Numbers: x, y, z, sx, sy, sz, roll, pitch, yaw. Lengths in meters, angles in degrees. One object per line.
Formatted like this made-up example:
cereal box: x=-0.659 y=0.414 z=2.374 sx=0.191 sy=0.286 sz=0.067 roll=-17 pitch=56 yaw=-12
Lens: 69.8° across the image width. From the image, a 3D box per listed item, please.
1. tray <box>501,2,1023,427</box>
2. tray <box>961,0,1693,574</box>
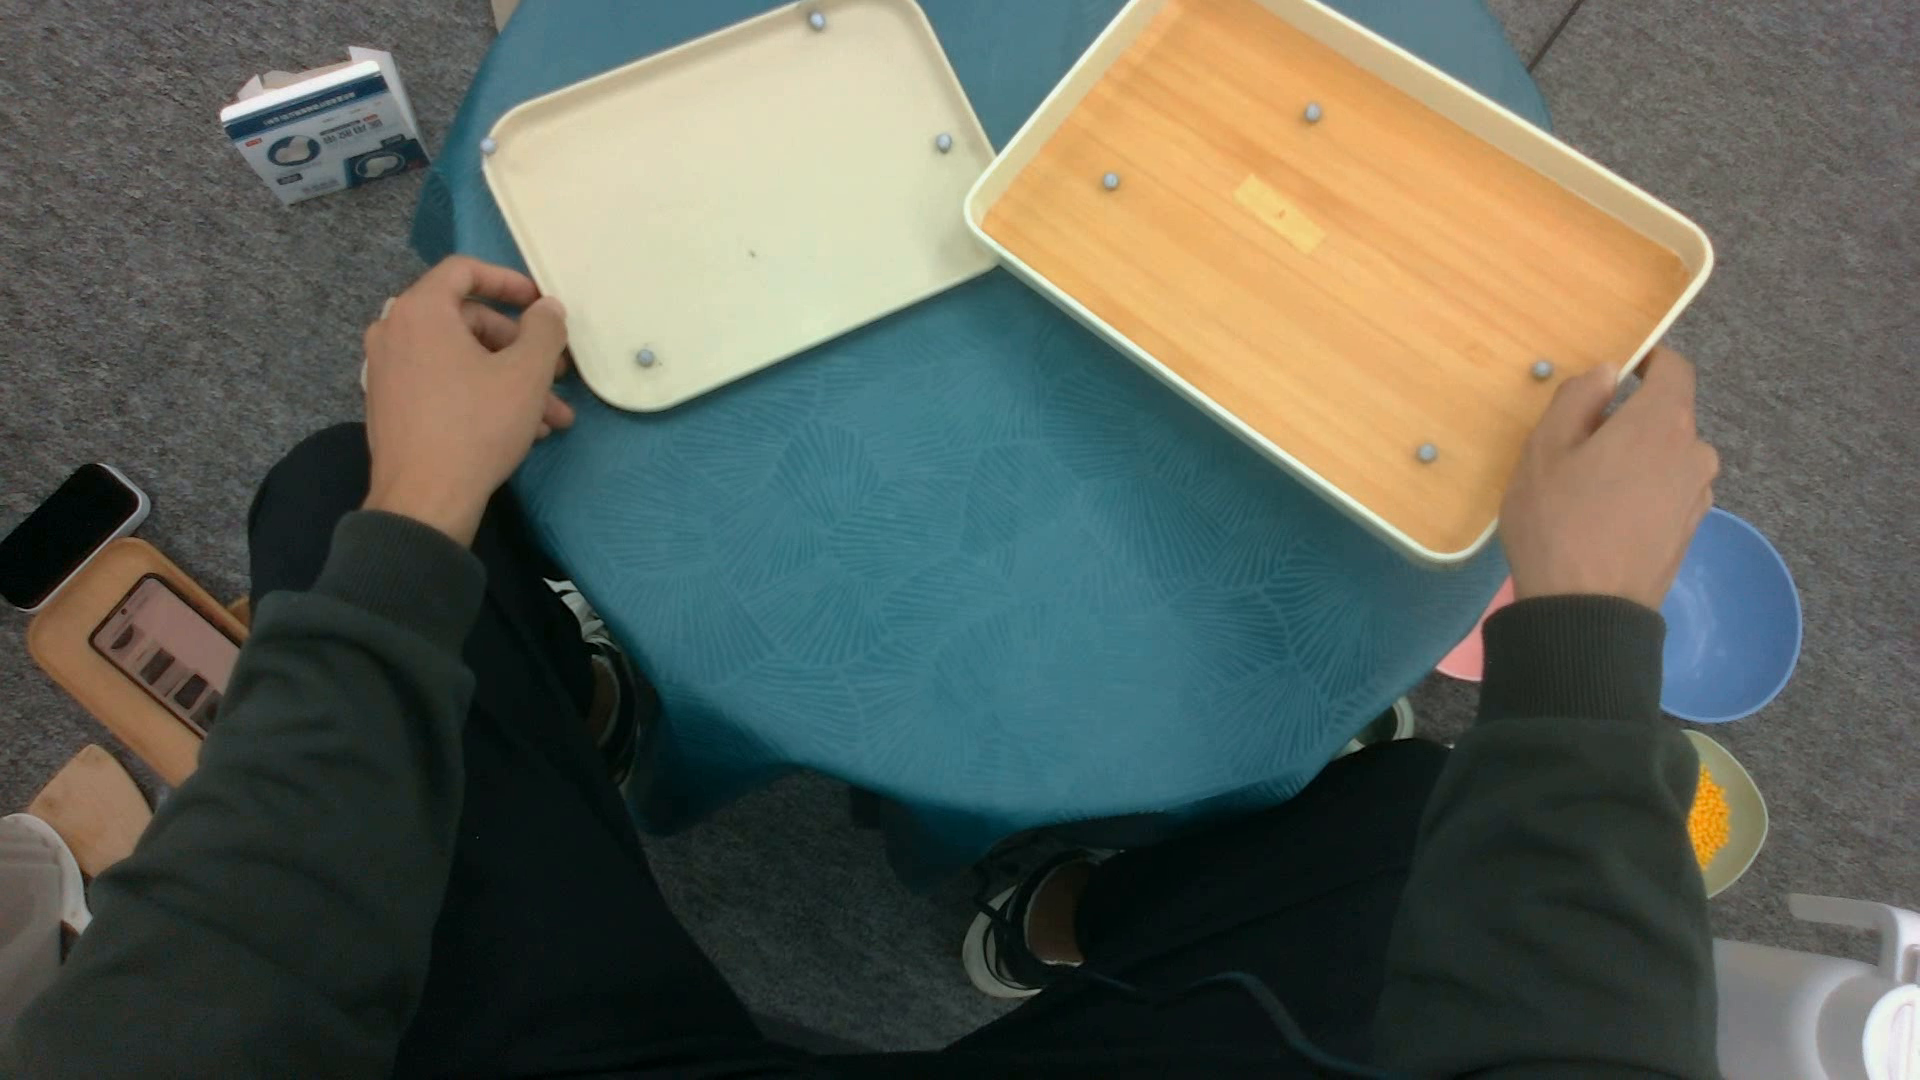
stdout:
tray: x=-0.100 y=-0.172 z=0.717 sx=0.240 sy=0.017 sz=0.171 roll=-26 pitch=84 yaw=-11
tray: x=0.165 y=-0.139 z=0.666 sx=0.300 sy=0.027 sz=0.191 roll=39 pitch=87 yaw=21
